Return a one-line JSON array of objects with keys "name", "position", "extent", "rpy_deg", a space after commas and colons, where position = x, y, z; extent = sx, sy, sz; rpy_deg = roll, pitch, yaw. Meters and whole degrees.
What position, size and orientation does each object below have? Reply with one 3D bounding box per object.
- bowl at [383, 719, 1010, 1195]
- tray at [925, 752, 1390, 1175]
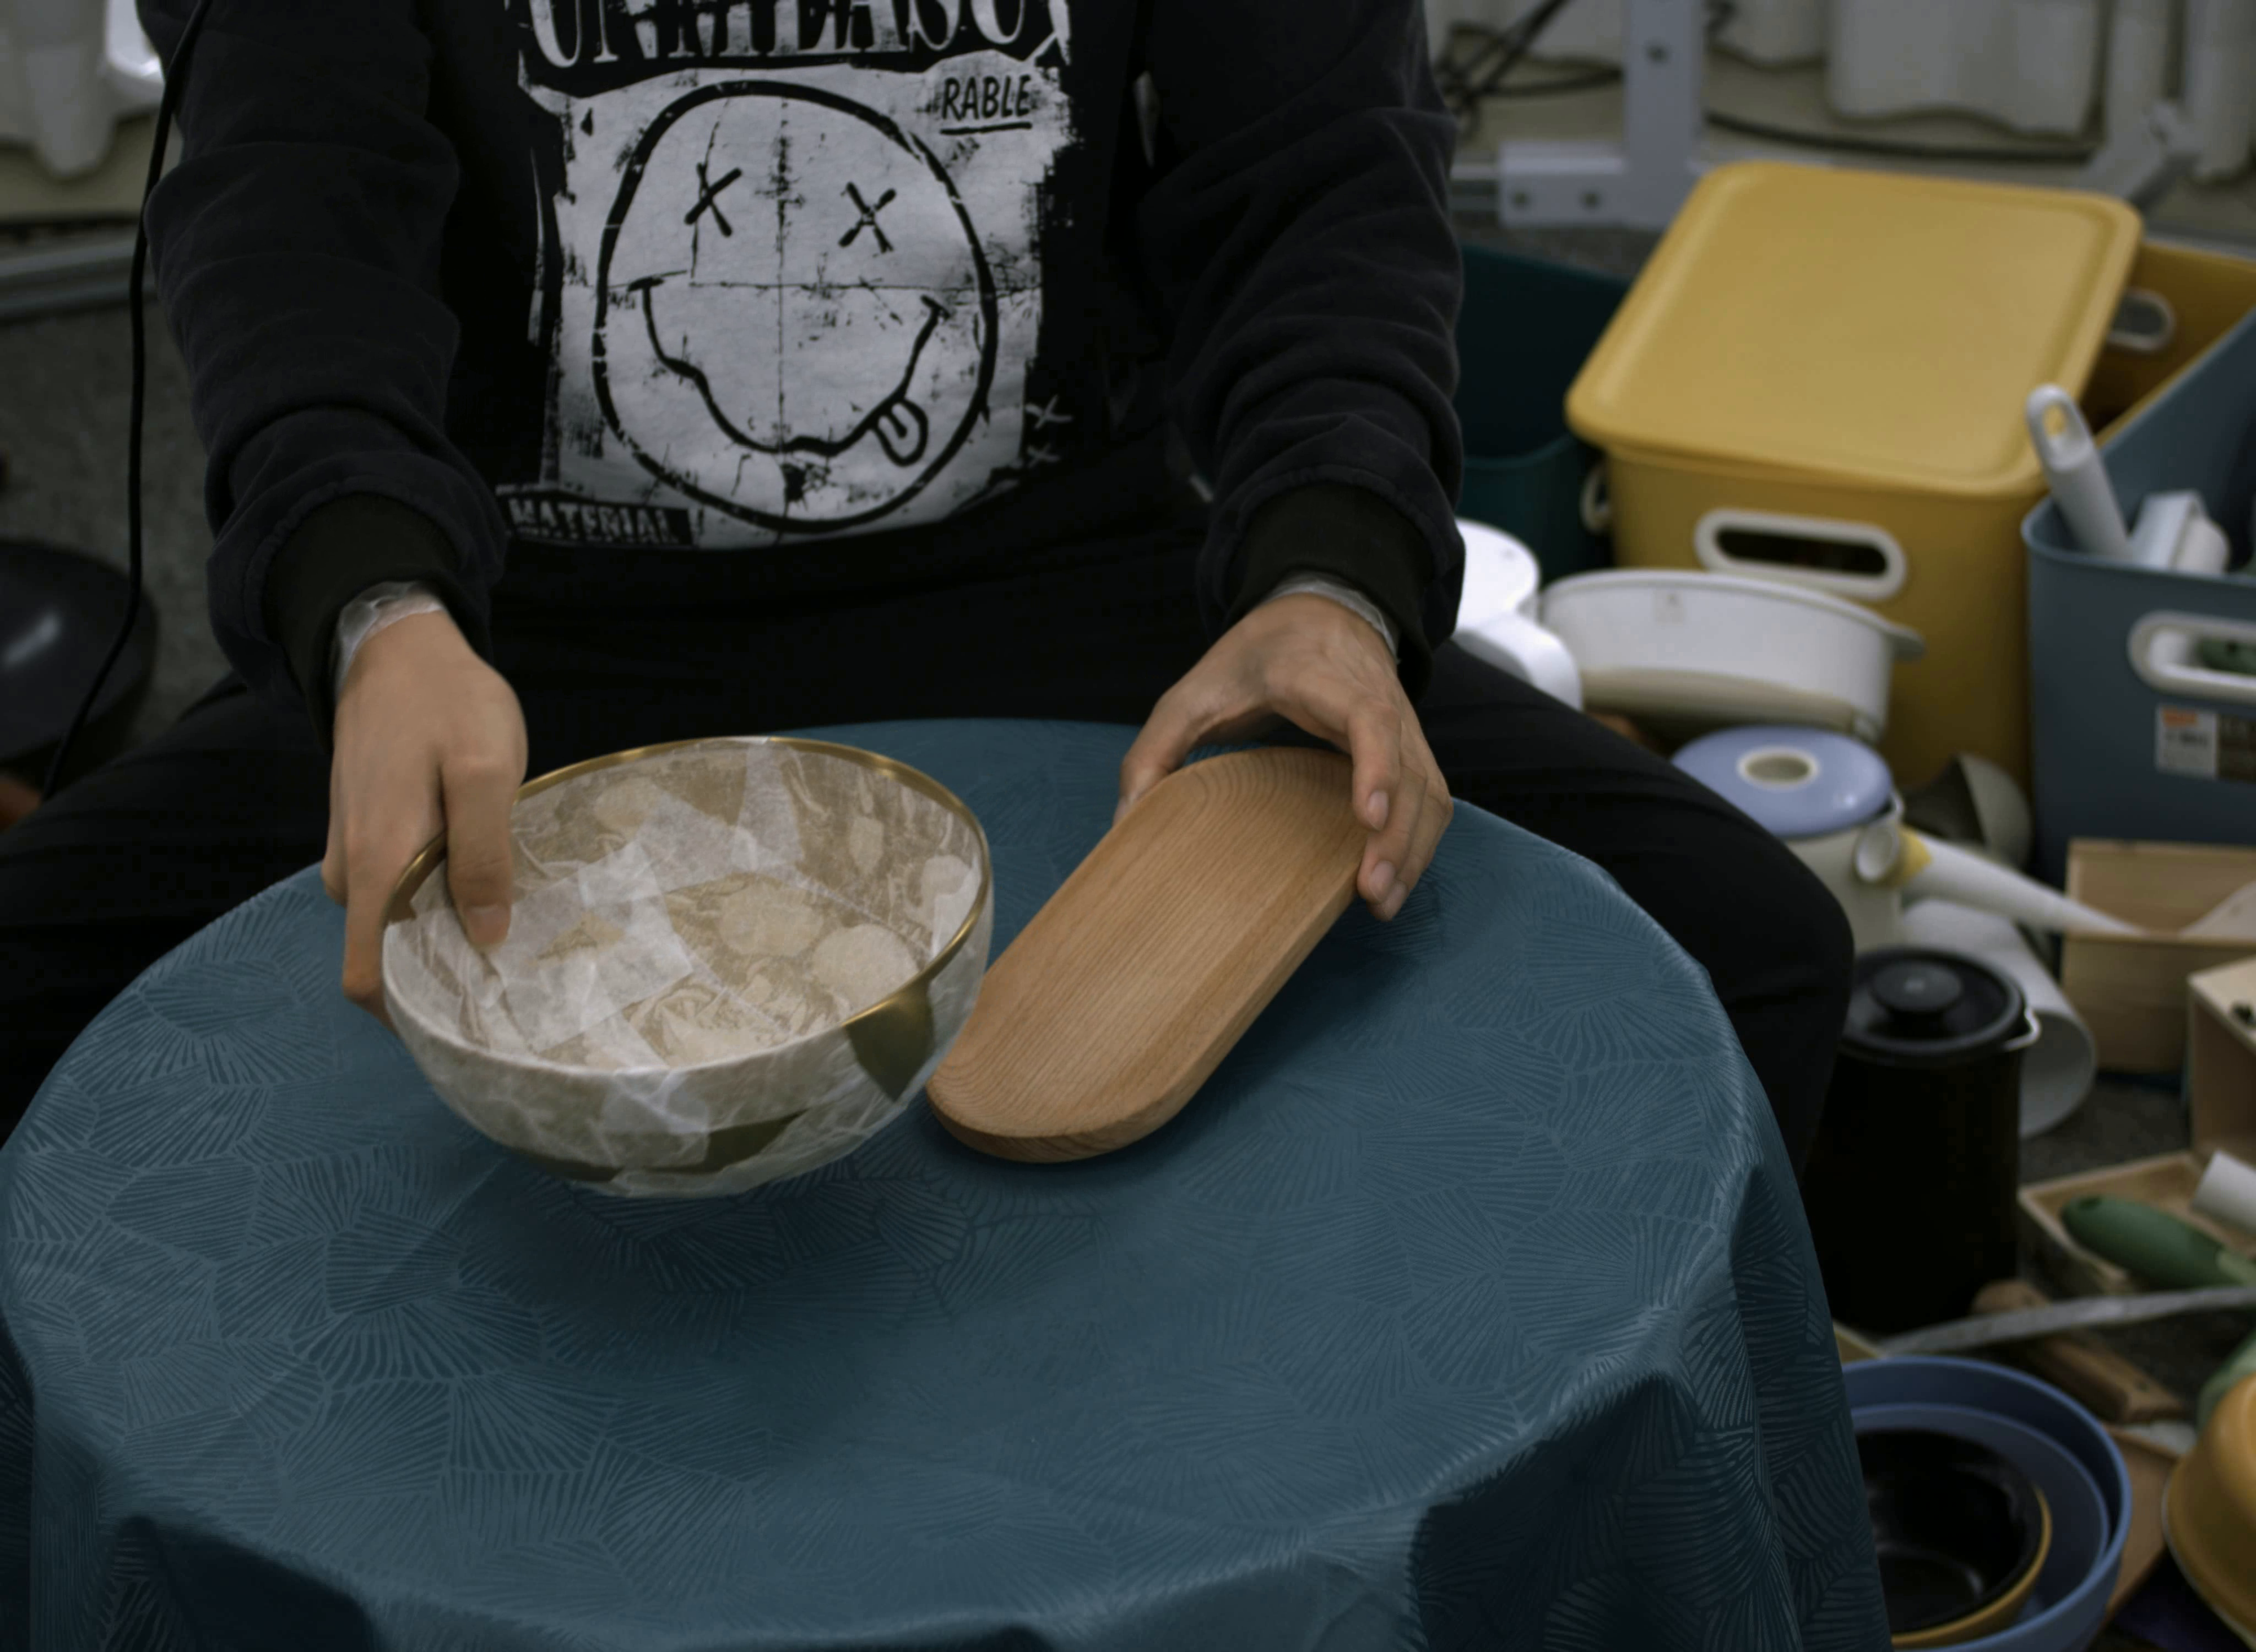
[{"name": "bowl", "position": [-0.134, 0.056, 1.833], "extent": [0.213, 0.093, 0.218], "rpy_deg": [-5, 30, 3]}, {"name": "tray", "position": [0.013, 0.046, 1.952], "extent": [0.101, 0.020, 0.235], "rpy_deg": [7, 39, 31]}]
